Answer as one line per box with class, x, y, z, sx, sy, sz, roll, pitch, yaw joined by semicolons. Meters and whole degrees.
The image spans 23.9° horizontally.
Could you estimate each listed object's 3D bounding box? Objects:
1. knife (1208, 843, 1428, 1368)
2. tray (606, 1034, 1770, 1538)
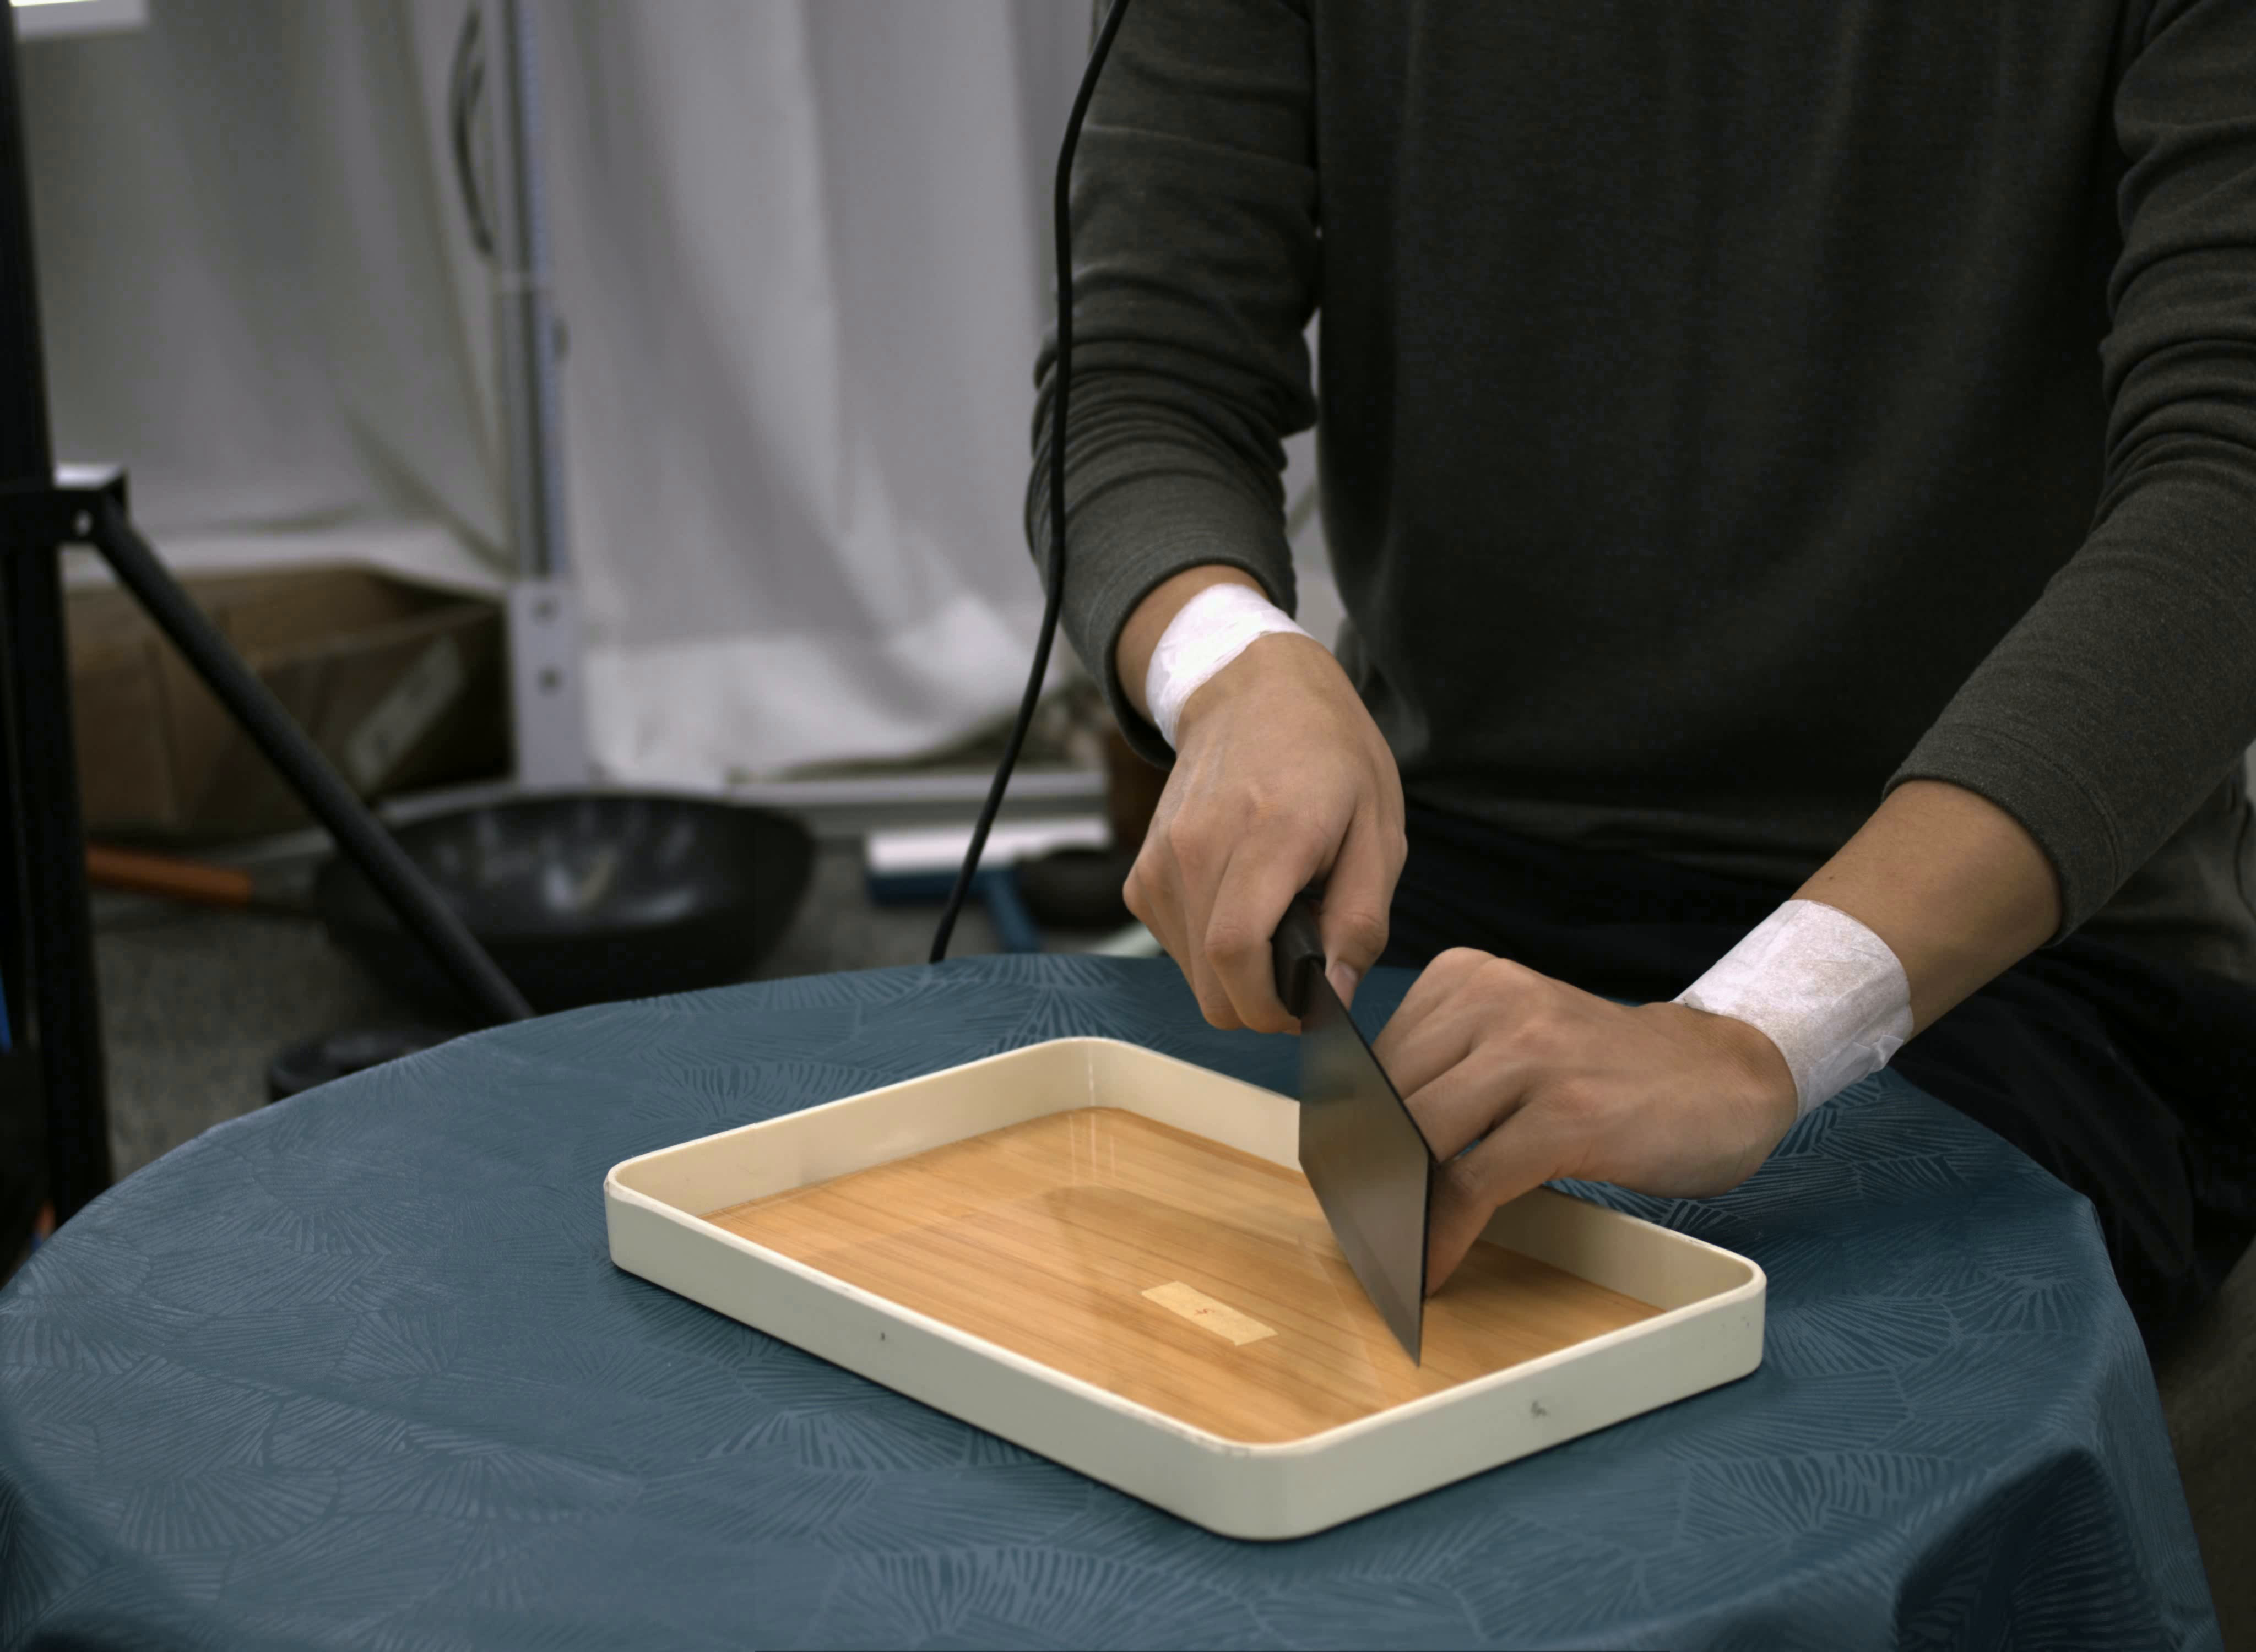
knife;0.054;0.070;1.497;0.020;0.081;0.305;0;20;-8
tray;0.011;0.121;1.464;0.187;0.027;0.307;-14;20;-36
